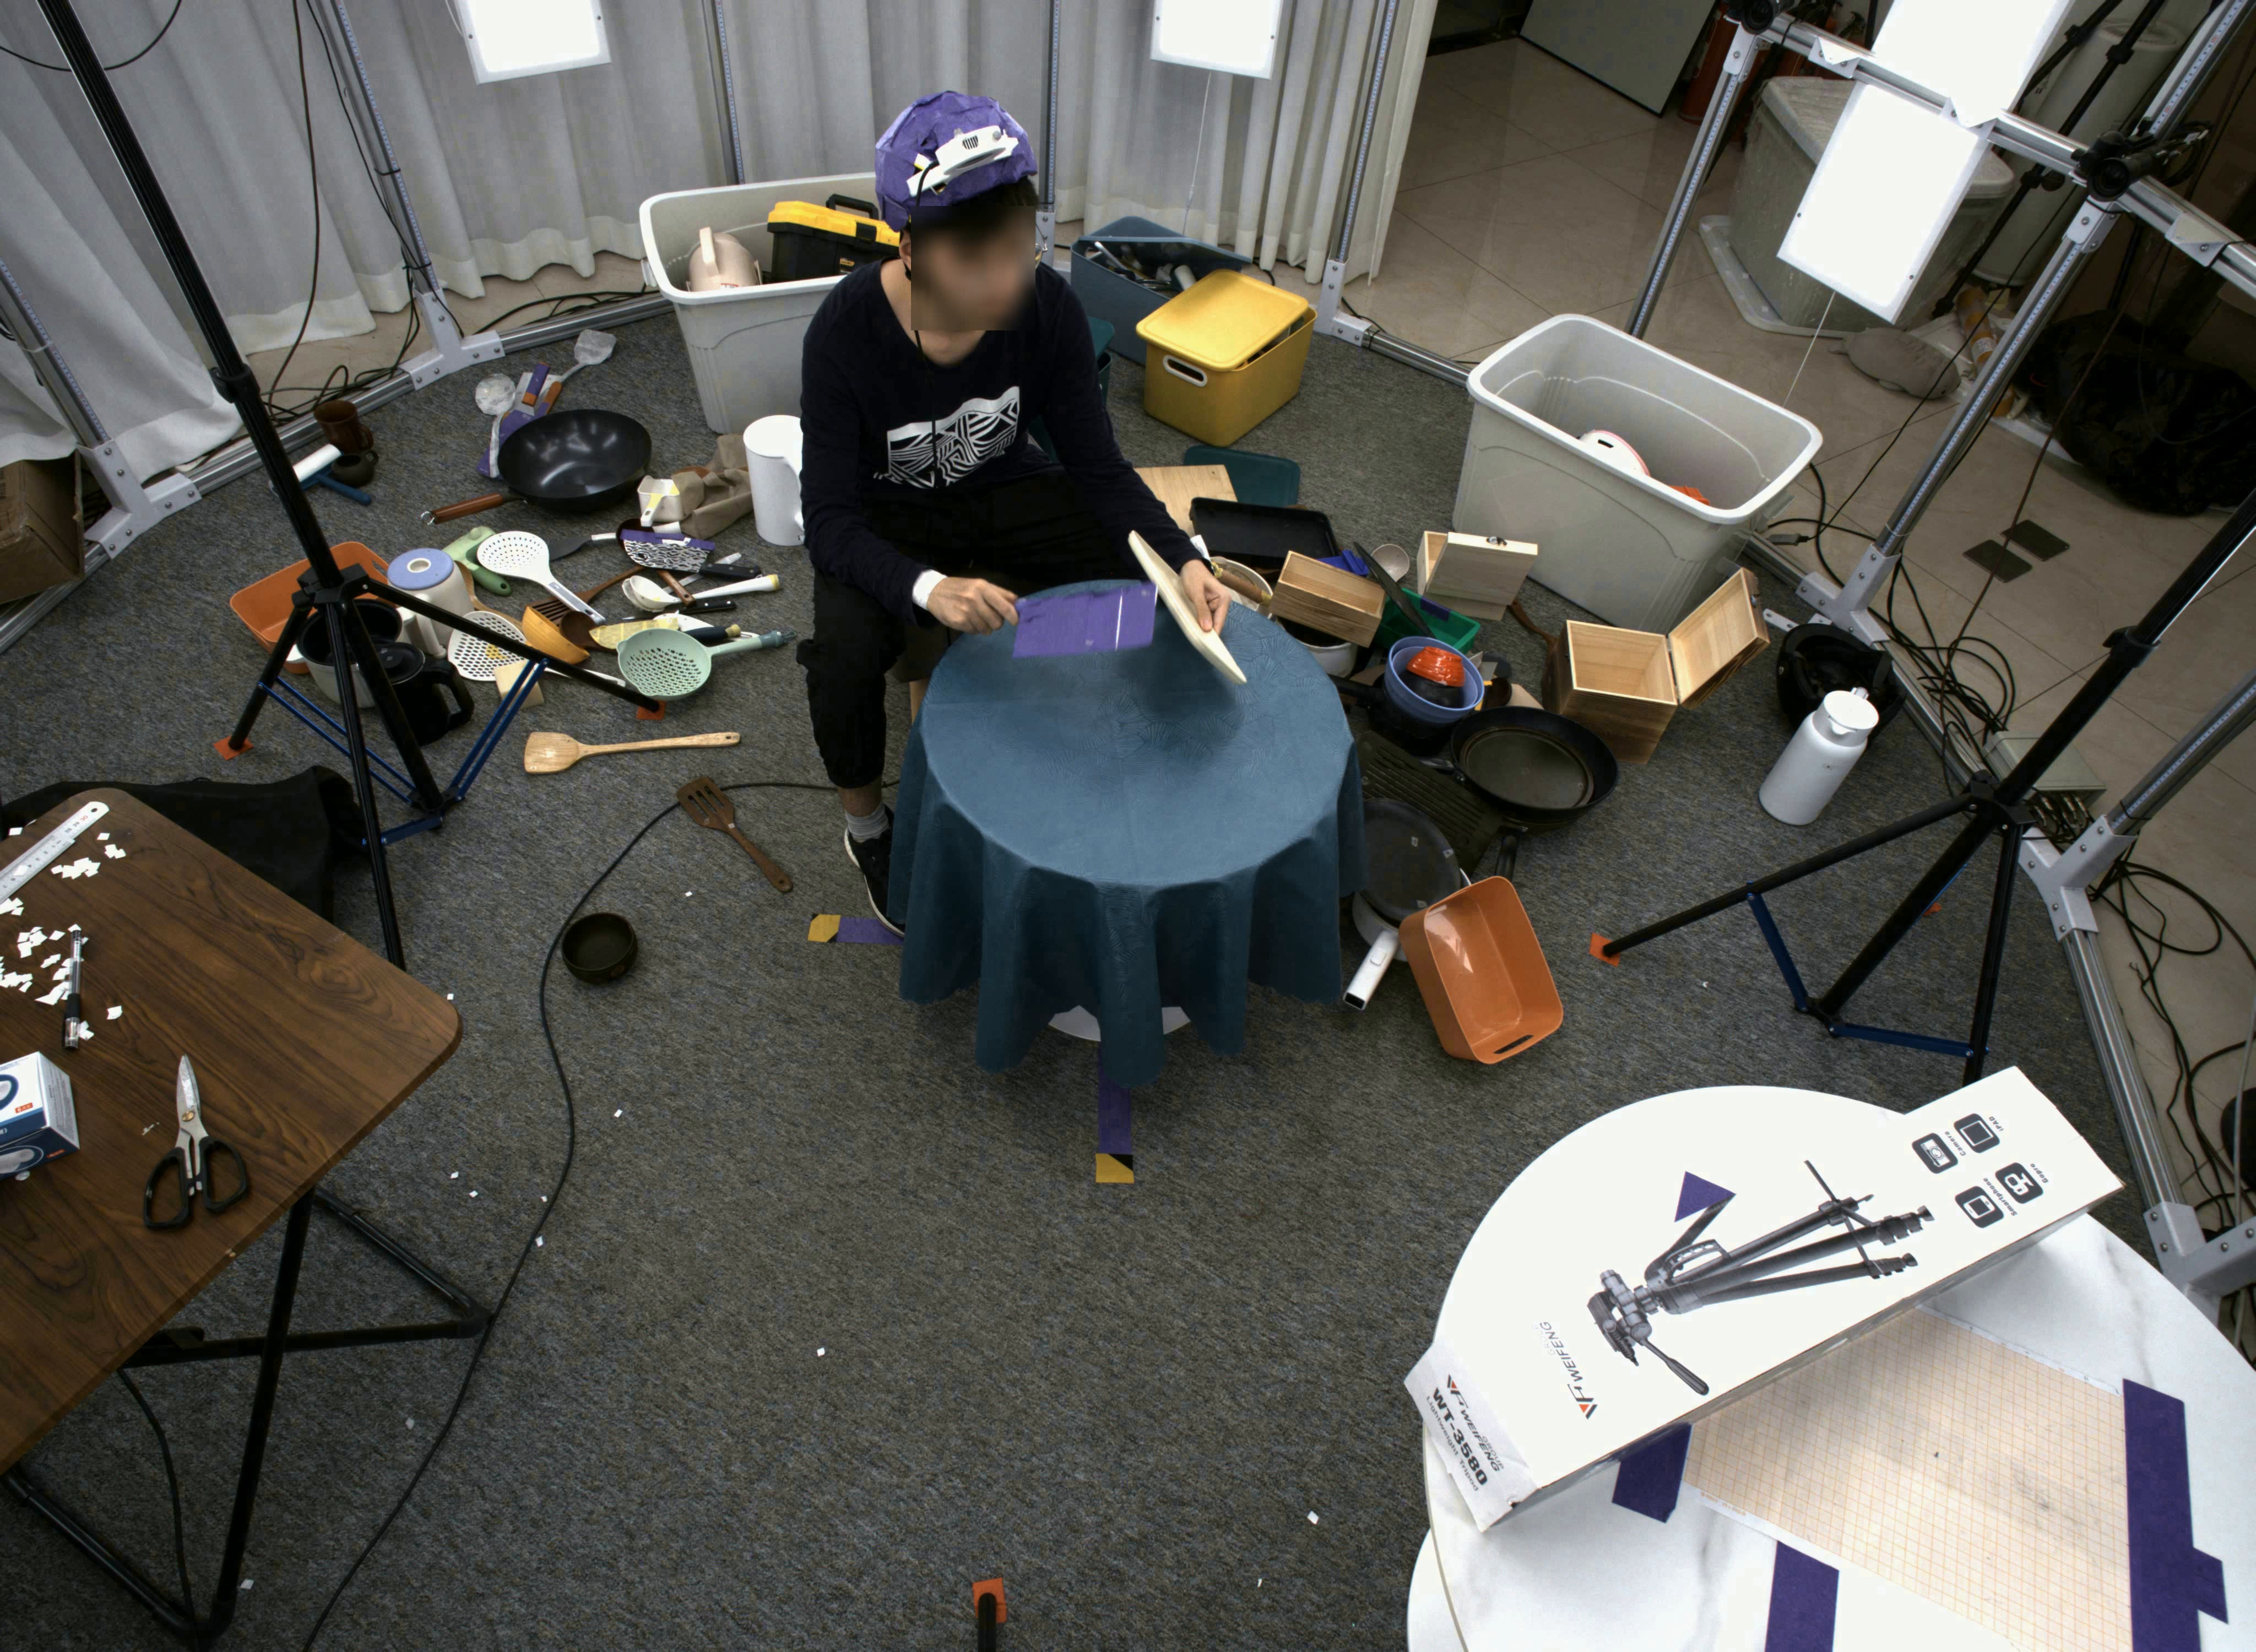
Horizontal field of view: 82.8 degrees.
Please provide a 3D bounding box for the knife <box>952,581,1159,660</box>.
[{"bbox_3d":[-0.106,-0.270,1.737,0.316,0.031,0.105,-2,65,27],"label":"knife"}]

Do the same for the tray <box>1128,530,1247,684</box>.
[{"bbox_3d":[0.081,-0.305,1.803,0.017,0.168,0.245,-38,56,14],"label":"tray"}]
